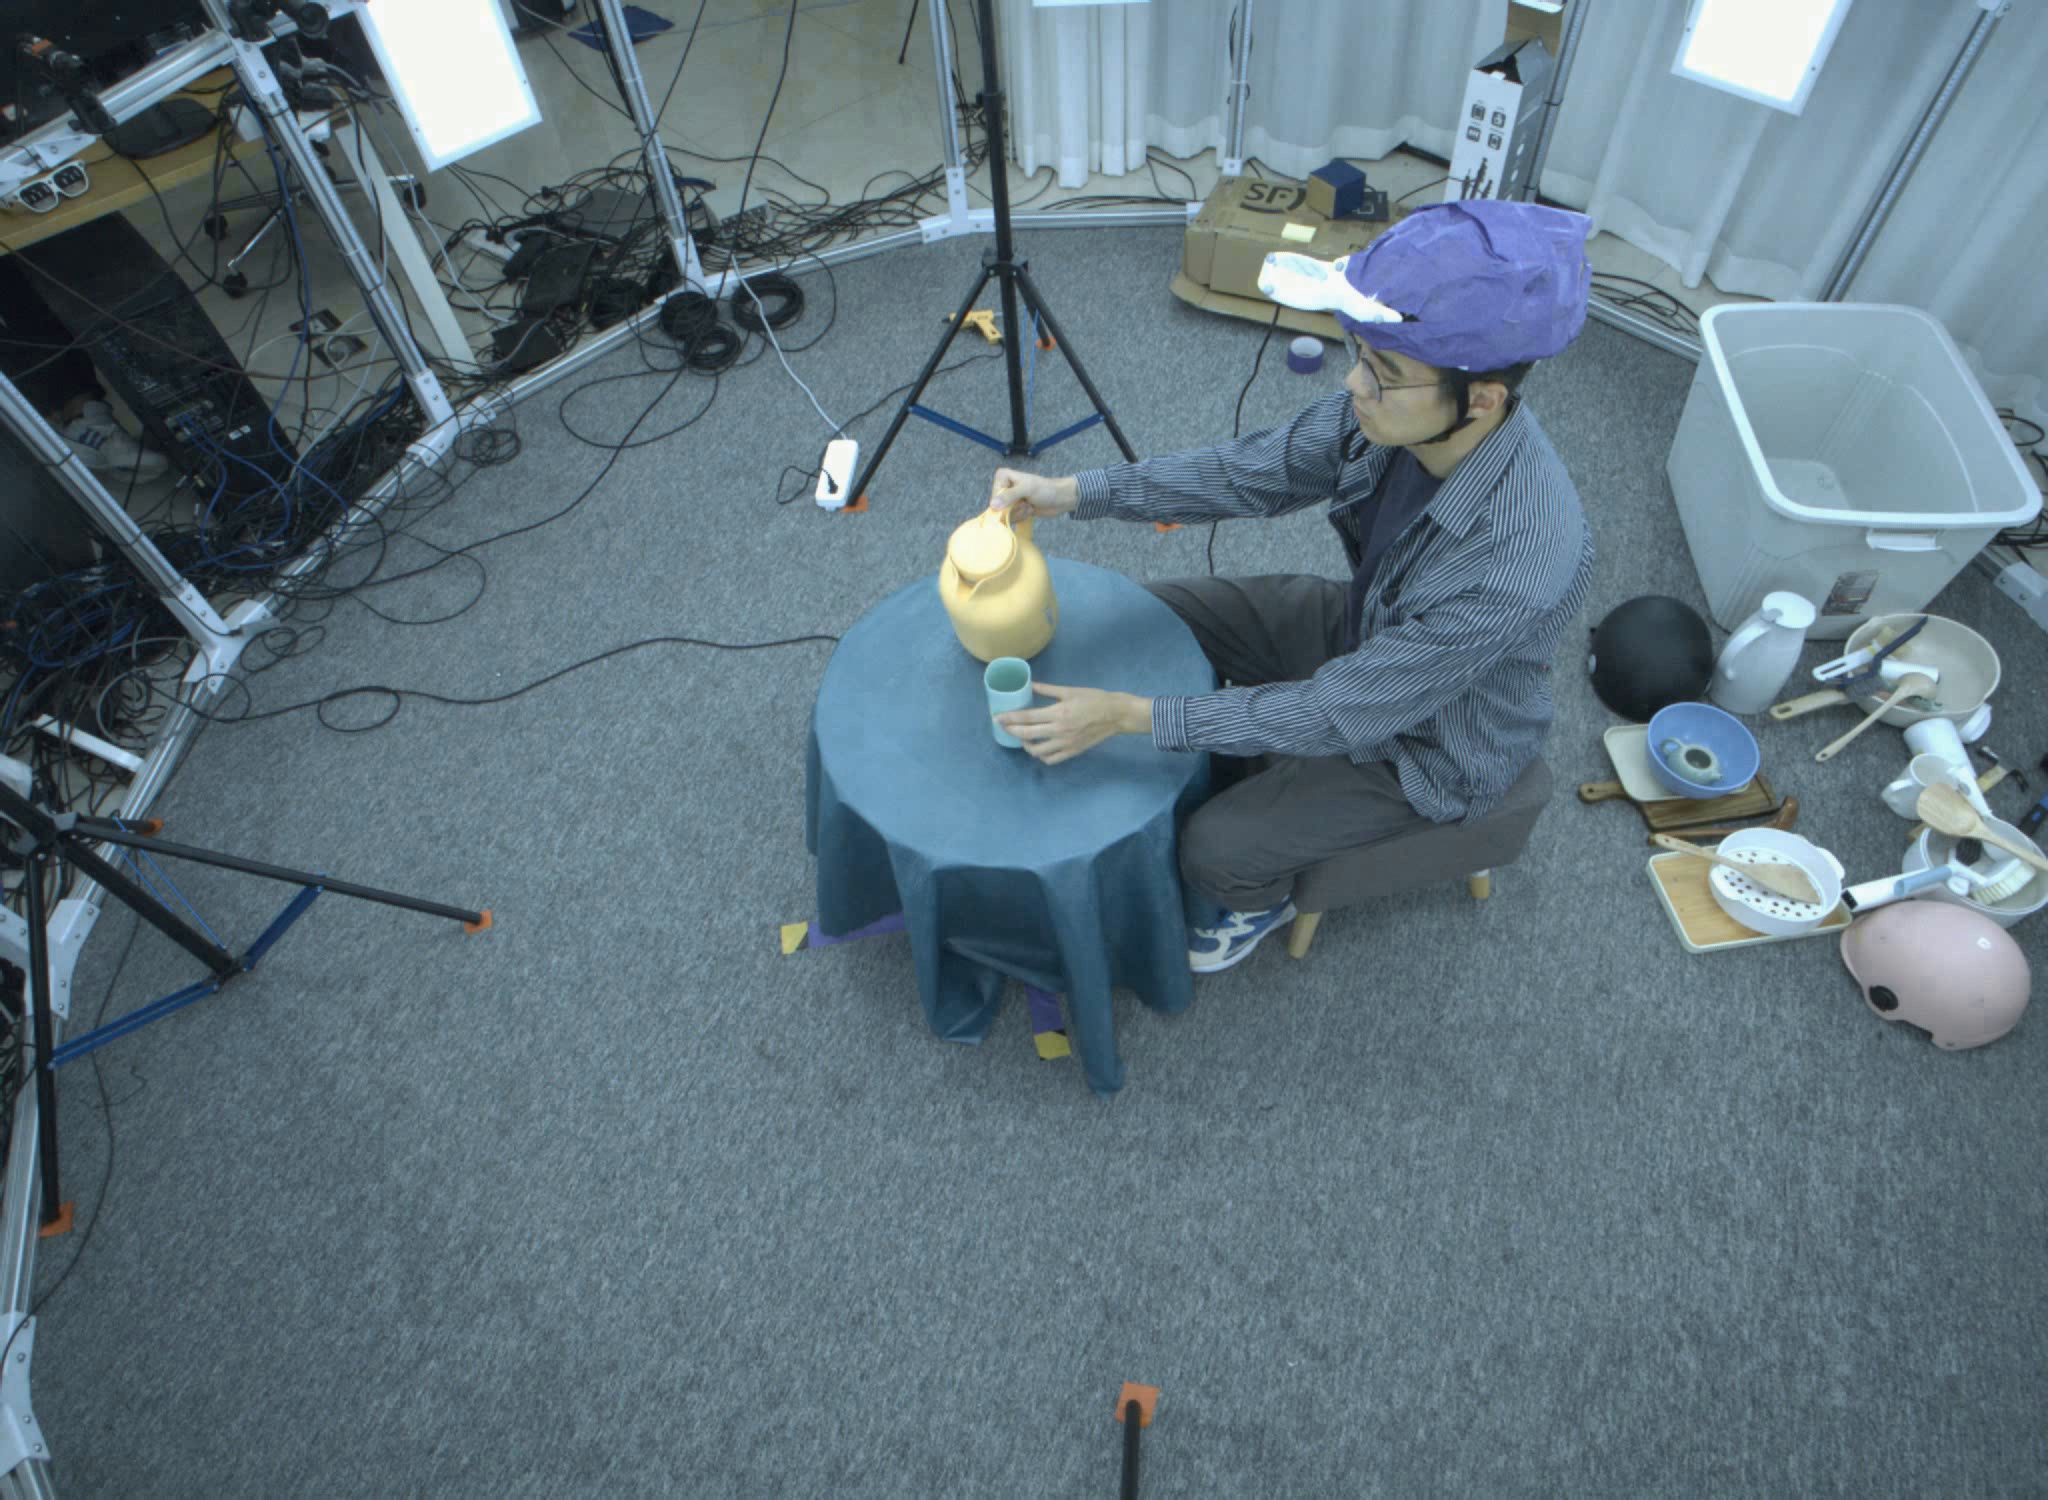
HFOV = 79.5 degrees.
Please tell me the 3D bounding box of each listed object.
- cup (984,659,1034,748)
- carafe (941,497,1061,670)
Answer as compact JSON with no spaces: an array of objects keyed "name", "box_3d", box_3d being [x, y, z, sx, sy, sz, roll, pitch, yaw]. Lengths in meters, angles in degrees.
[{"name":"cup","box_3d":[-0.019,-0.064,1.741,0.066,0.134,0.066,-1,56,3]},{"name":"carafe","box_3d":[-0.031,-0.244,1.791,0.162,0.263,0.202,17,74,12]}]
